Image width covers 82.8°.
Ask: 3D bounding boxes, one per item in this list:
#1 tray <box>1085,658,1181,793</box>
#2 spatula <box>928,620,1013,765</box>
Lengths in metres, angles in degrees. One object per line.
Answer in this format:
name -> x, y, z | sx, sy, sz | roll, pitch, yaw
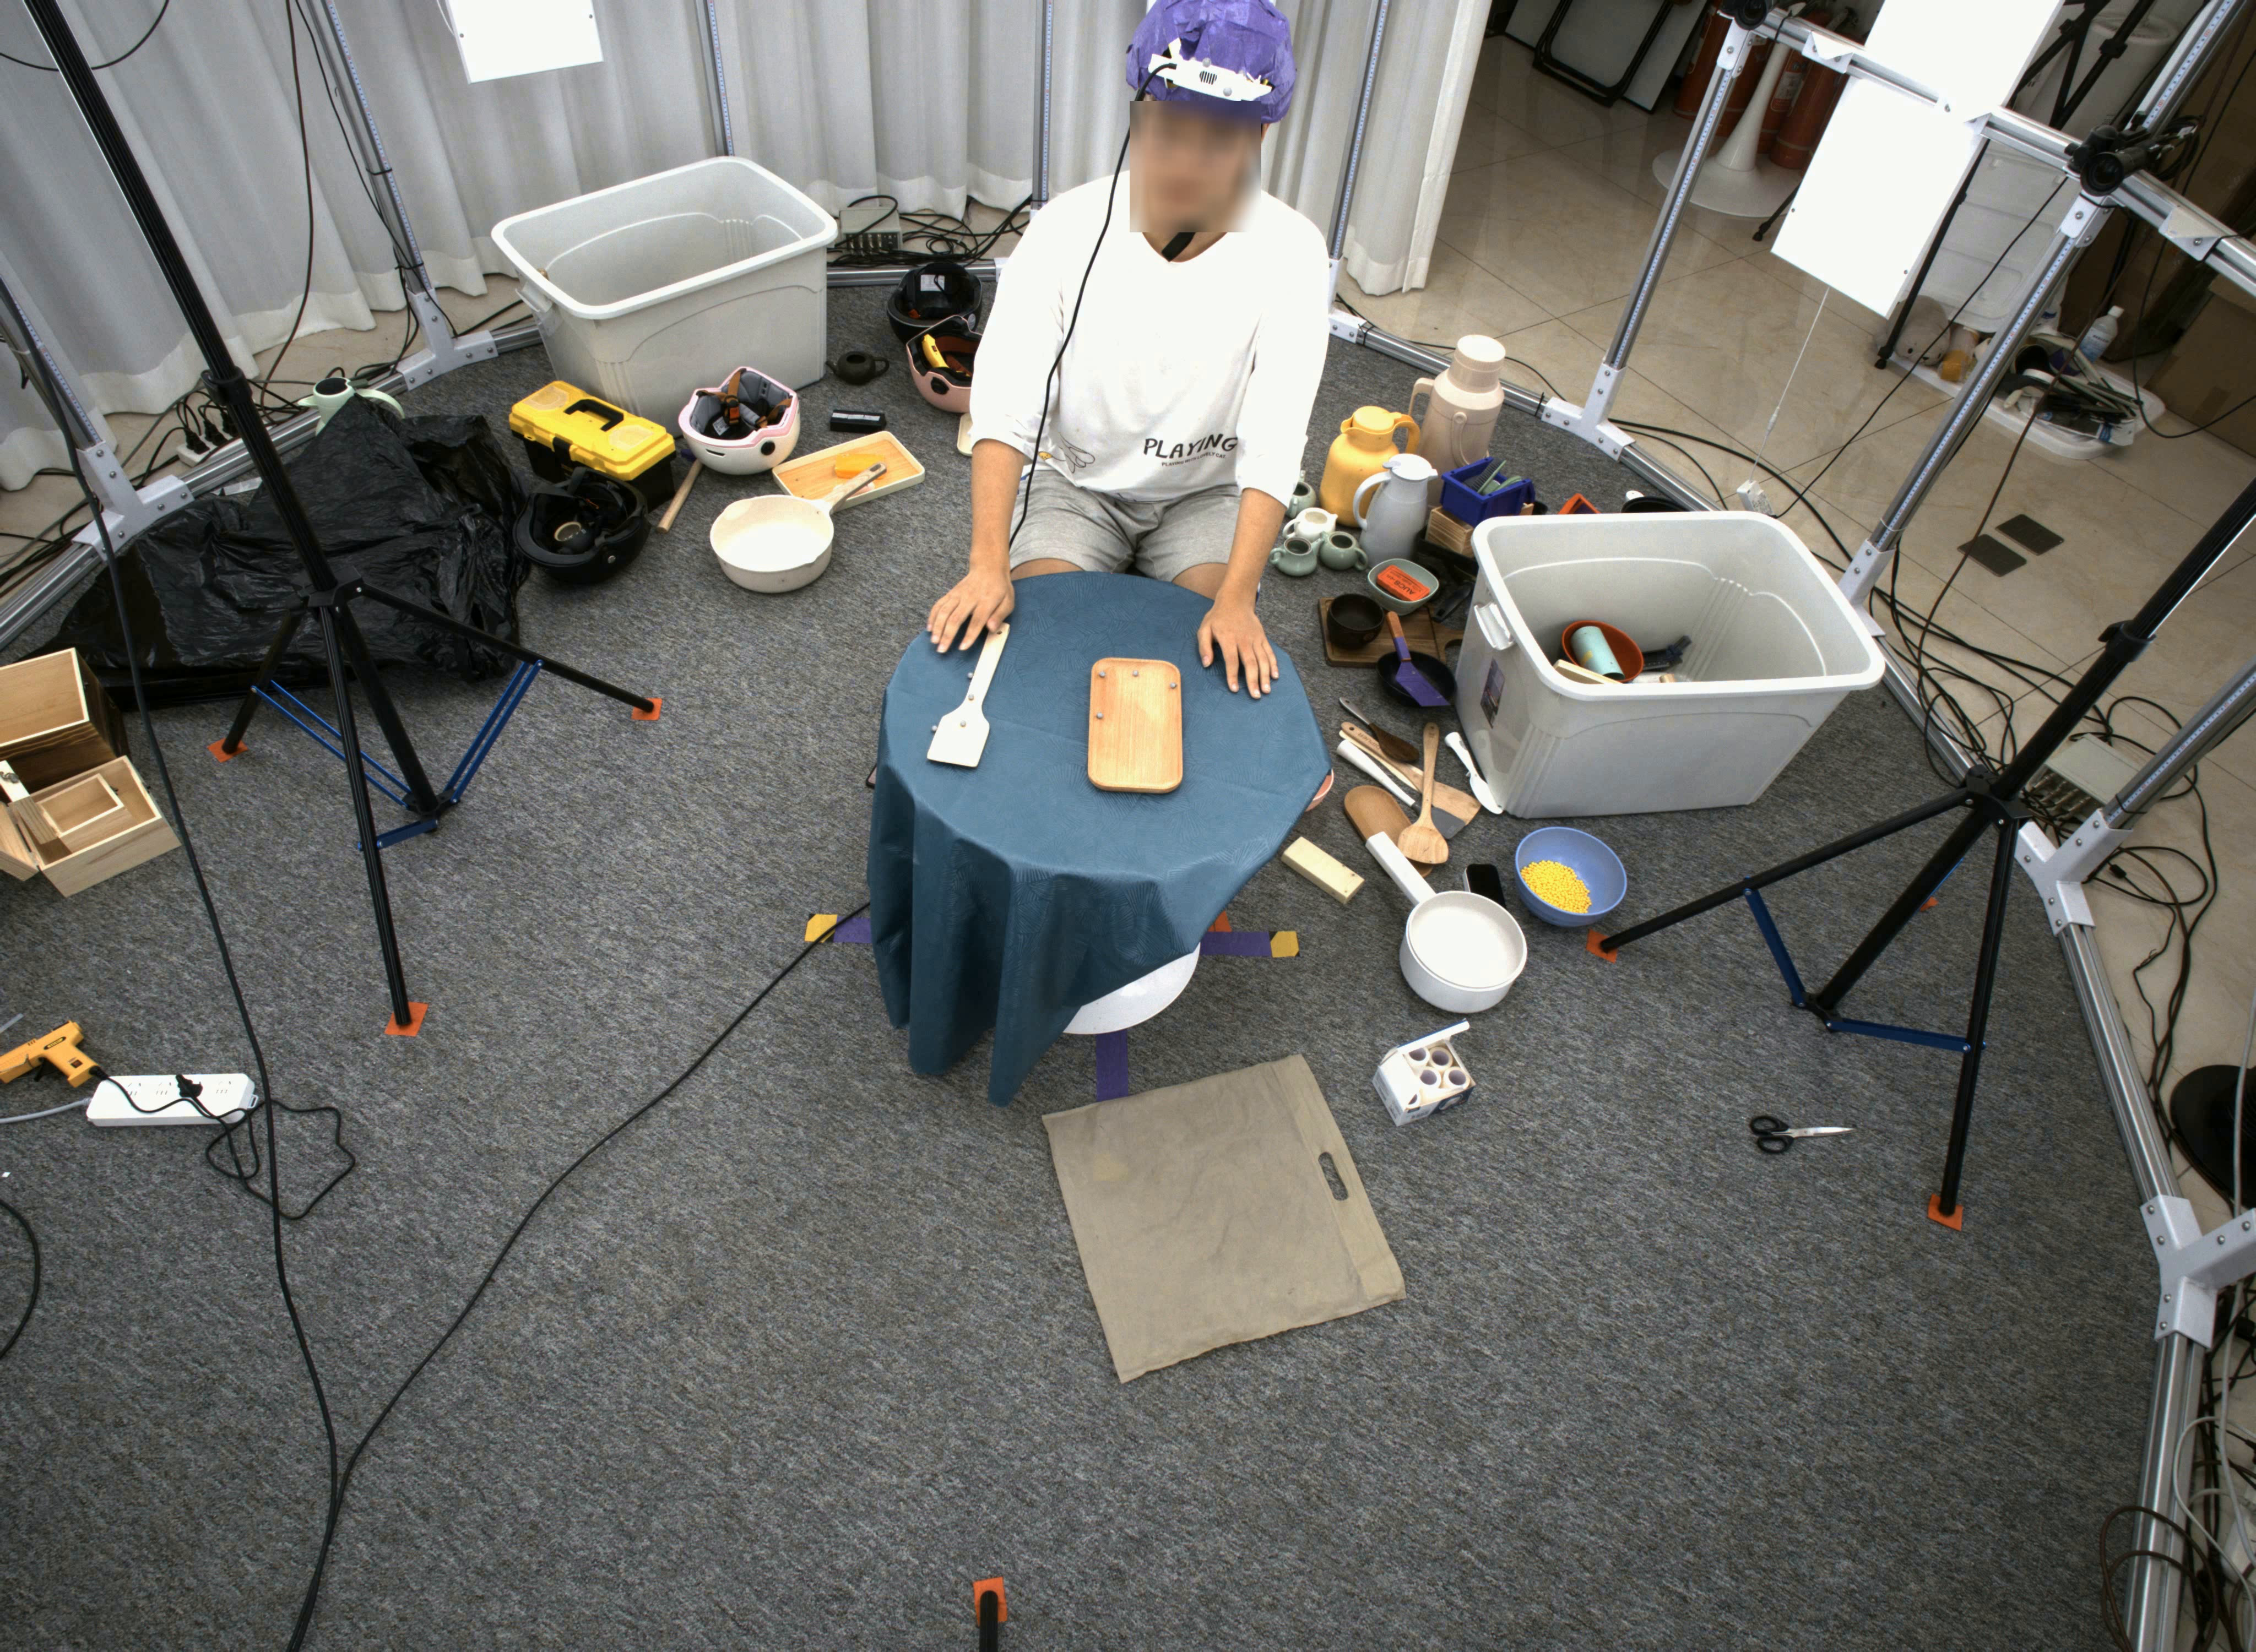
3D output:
tray -> 0.009, -0.142, 1.777 | 0.130, 0.022, 0.257 | 2, 49, 1
spatula -> -0.209, -0.194, 1.812 | 0.072, 0.010, 0.300 | 9, 49, 5
